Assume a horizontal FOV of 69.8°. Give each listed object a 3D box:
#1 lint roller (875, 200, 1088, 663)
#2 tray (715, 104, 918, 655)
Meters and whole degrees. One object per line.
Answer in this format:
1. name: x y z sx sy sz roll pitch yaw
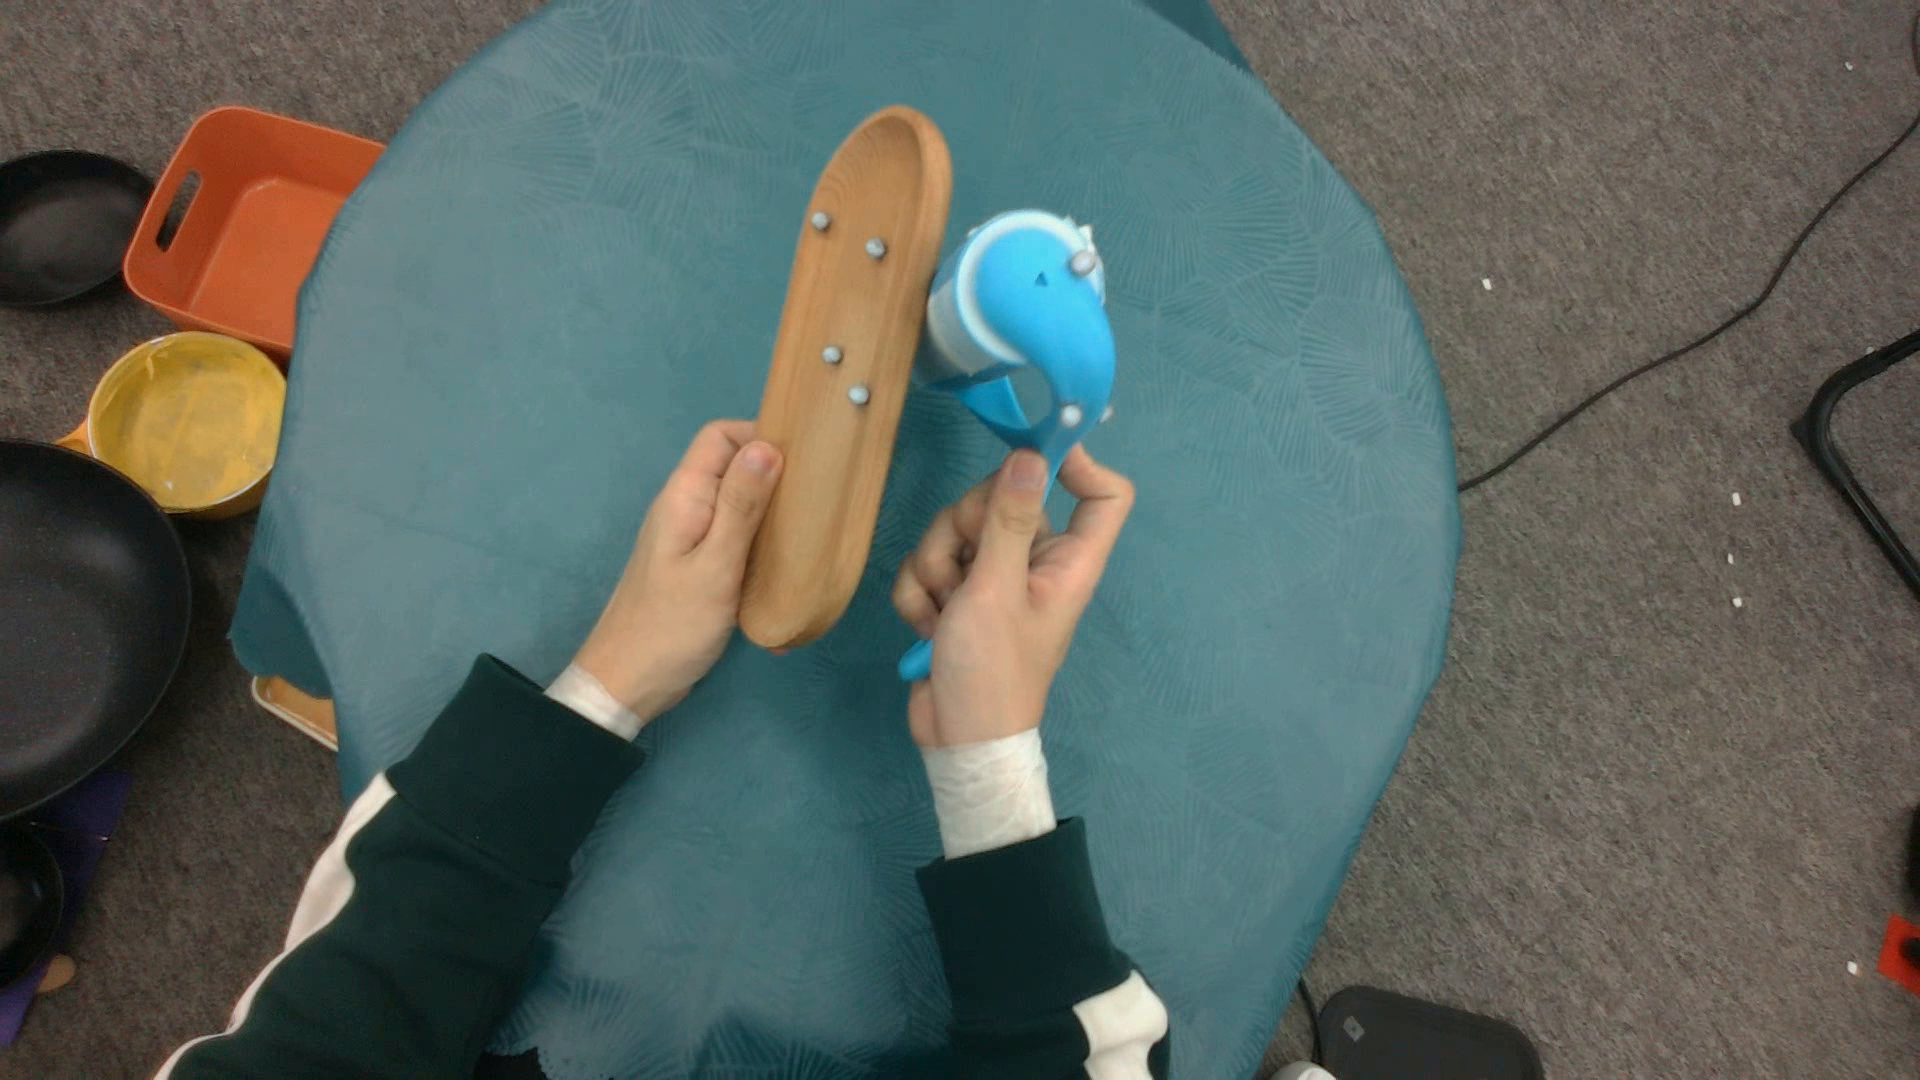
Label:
1. lint roller: -0.002 -0.039 0.580 0.068 0.229 0.180 -1 96 -12
2. tray: -0.061 -0.067 0.573 0.020 0.101 0.231 10 87 -34
